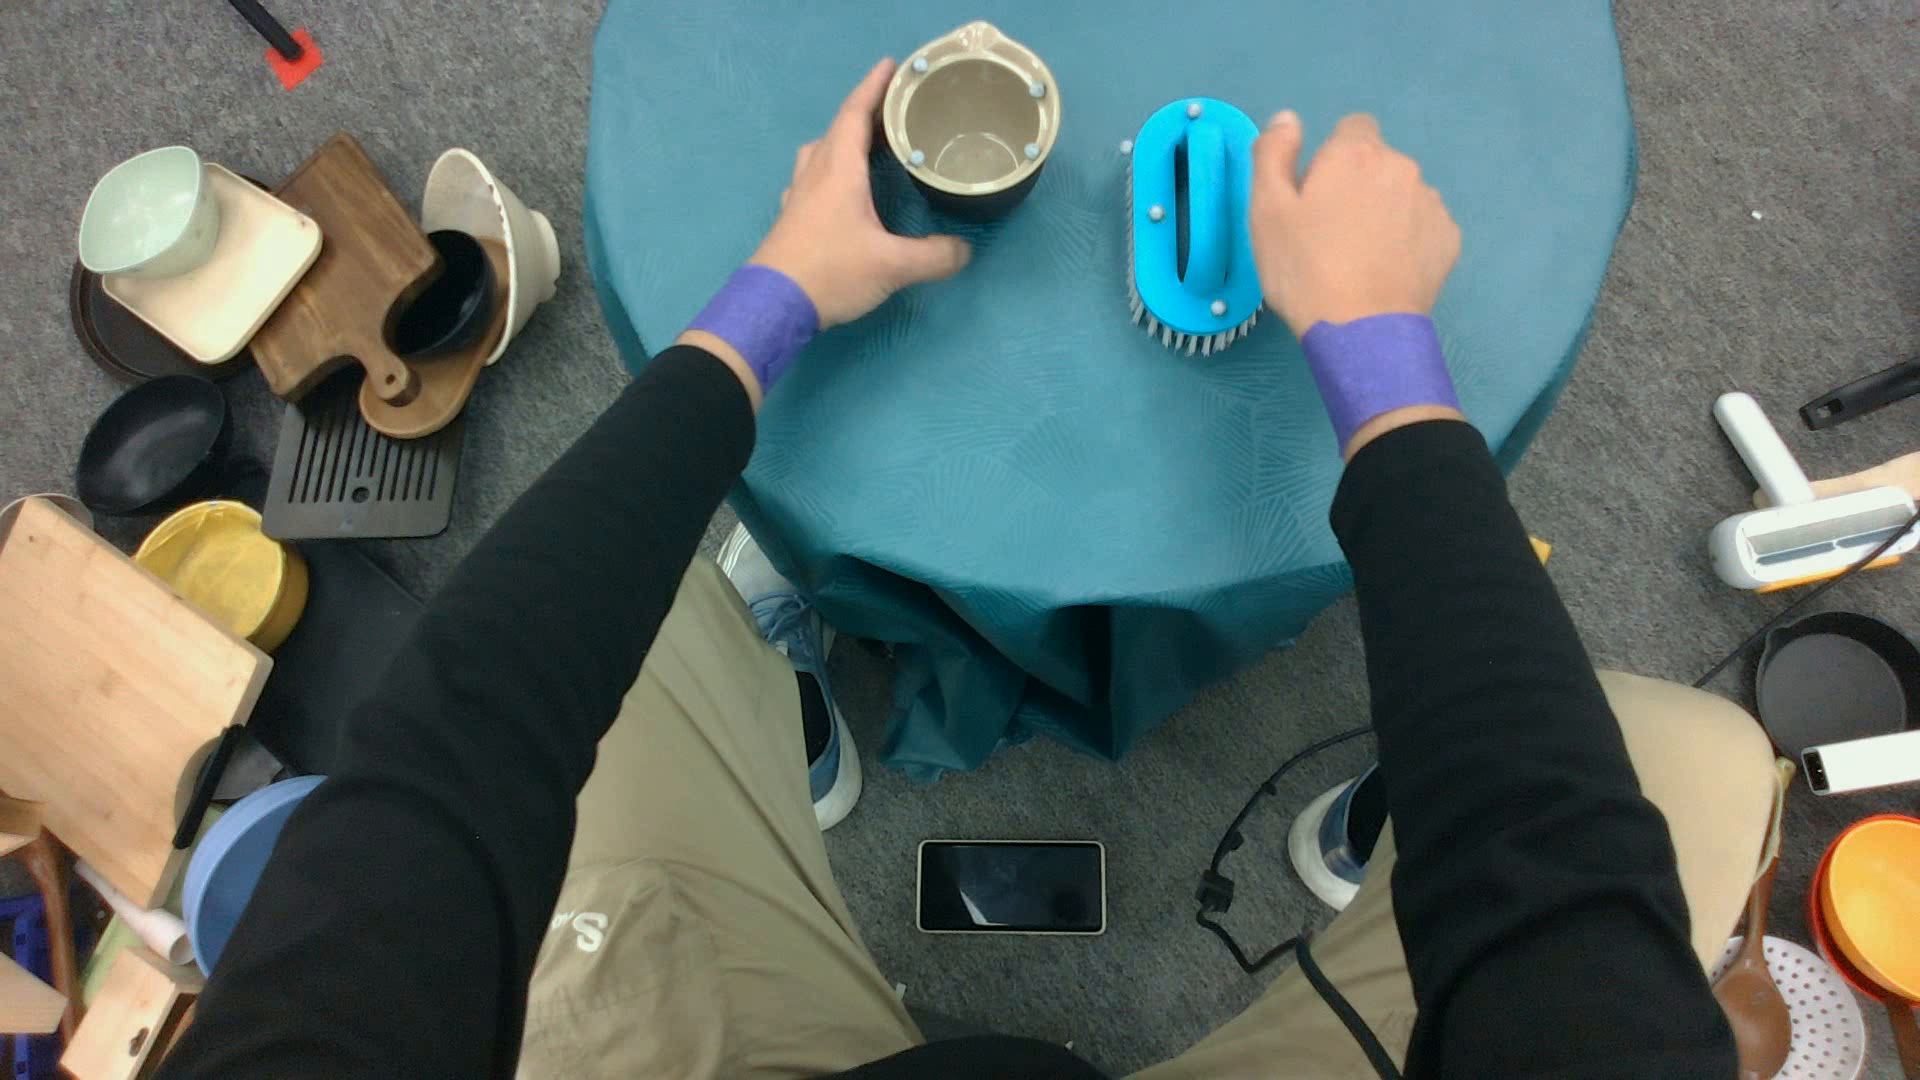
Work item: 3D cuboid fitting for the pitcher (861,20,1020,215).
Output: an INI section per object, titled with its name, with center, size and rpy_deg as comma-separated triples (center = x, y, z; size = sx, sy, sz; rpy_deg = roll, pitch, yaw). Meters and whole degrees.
[pitcher]
center = -0.008, -0.223, 0.754
size = 0.083, 0.071, 0.096
rpy_deg = 9, 75, 5

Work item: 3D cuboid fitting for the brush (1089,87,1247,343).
[brush]
center = 0.115, -0.183, 0.744
size = 0.084, 0.063, 0.142
rpy_deg = 2, 77, -2
